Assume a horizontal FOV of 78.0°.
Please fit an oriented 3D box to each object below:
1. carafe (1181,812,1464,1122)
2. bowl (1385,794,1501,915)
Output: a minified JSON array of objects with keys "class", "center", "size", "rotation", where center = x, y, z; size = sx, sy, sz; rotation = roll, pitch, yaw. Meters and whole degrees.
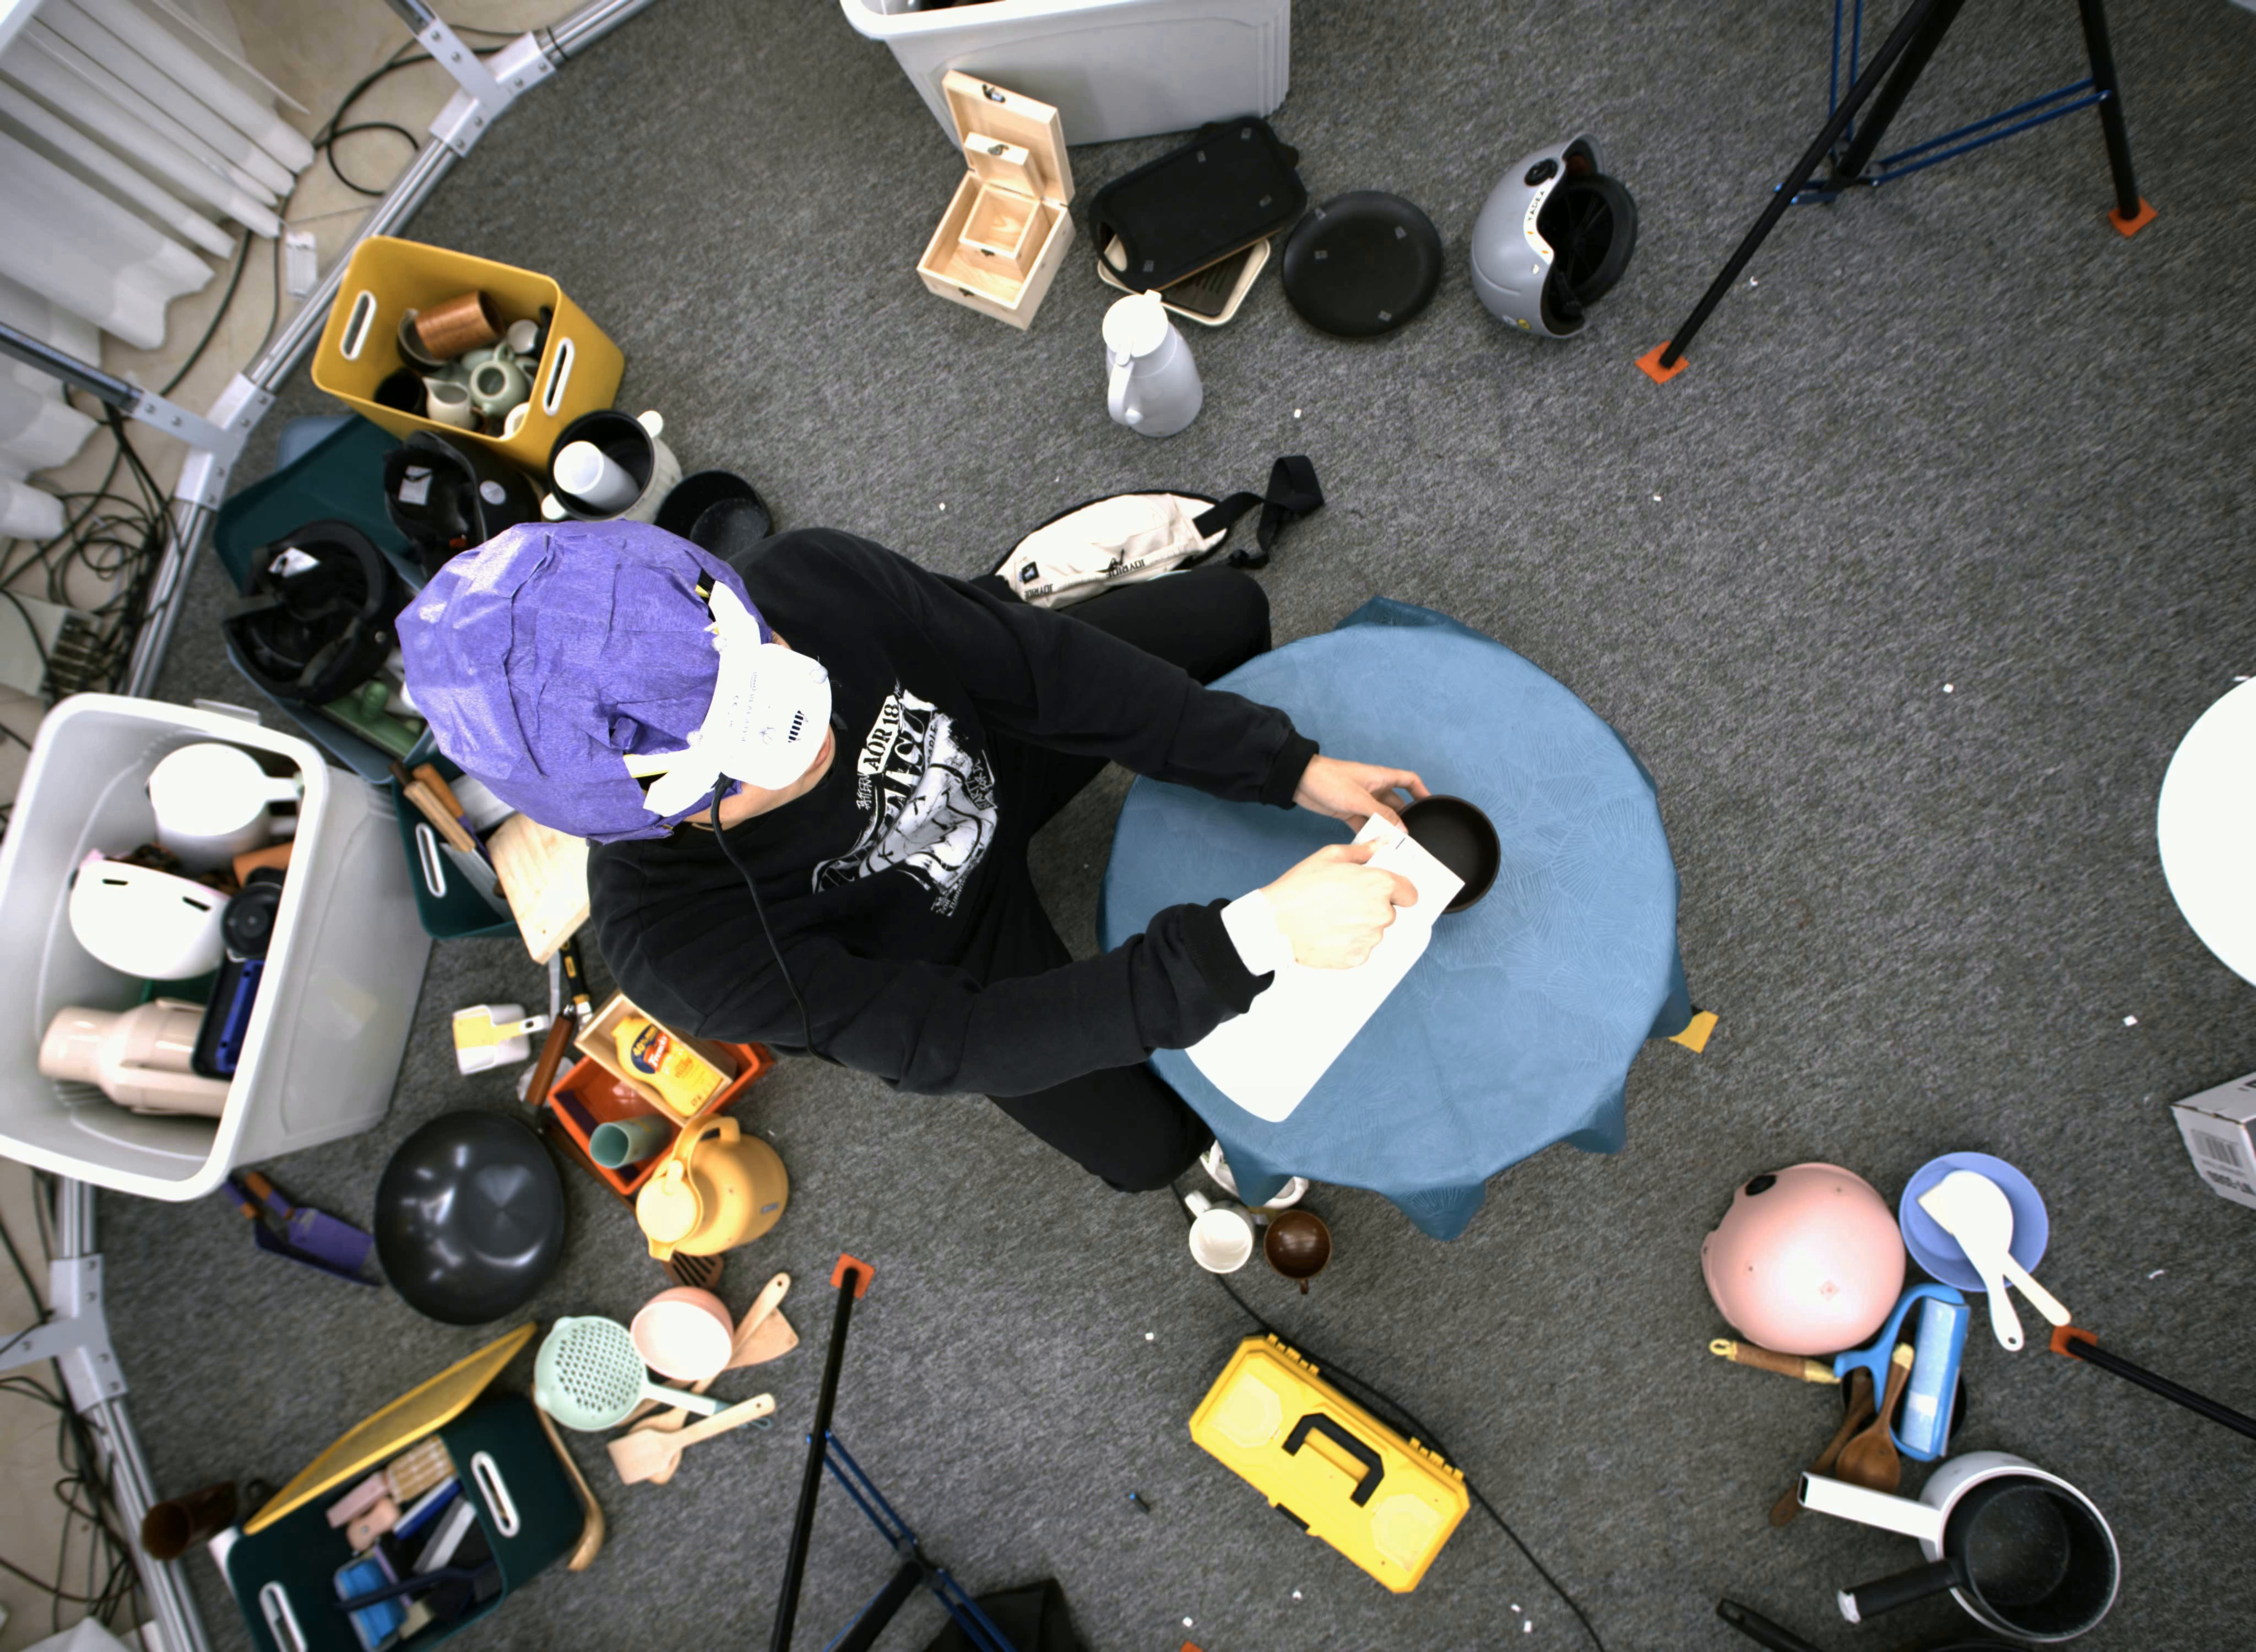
[{"class":"carafe","center":[0.166,0.121,1.190],"size":[0.123,0.172,0.271],"rotation":[42,99,13]},{"class":"bowl","center":[0.307,0.028,1.365],"size":[0.118,0.070,0.117],"rotation":[-1,87,8]}]
